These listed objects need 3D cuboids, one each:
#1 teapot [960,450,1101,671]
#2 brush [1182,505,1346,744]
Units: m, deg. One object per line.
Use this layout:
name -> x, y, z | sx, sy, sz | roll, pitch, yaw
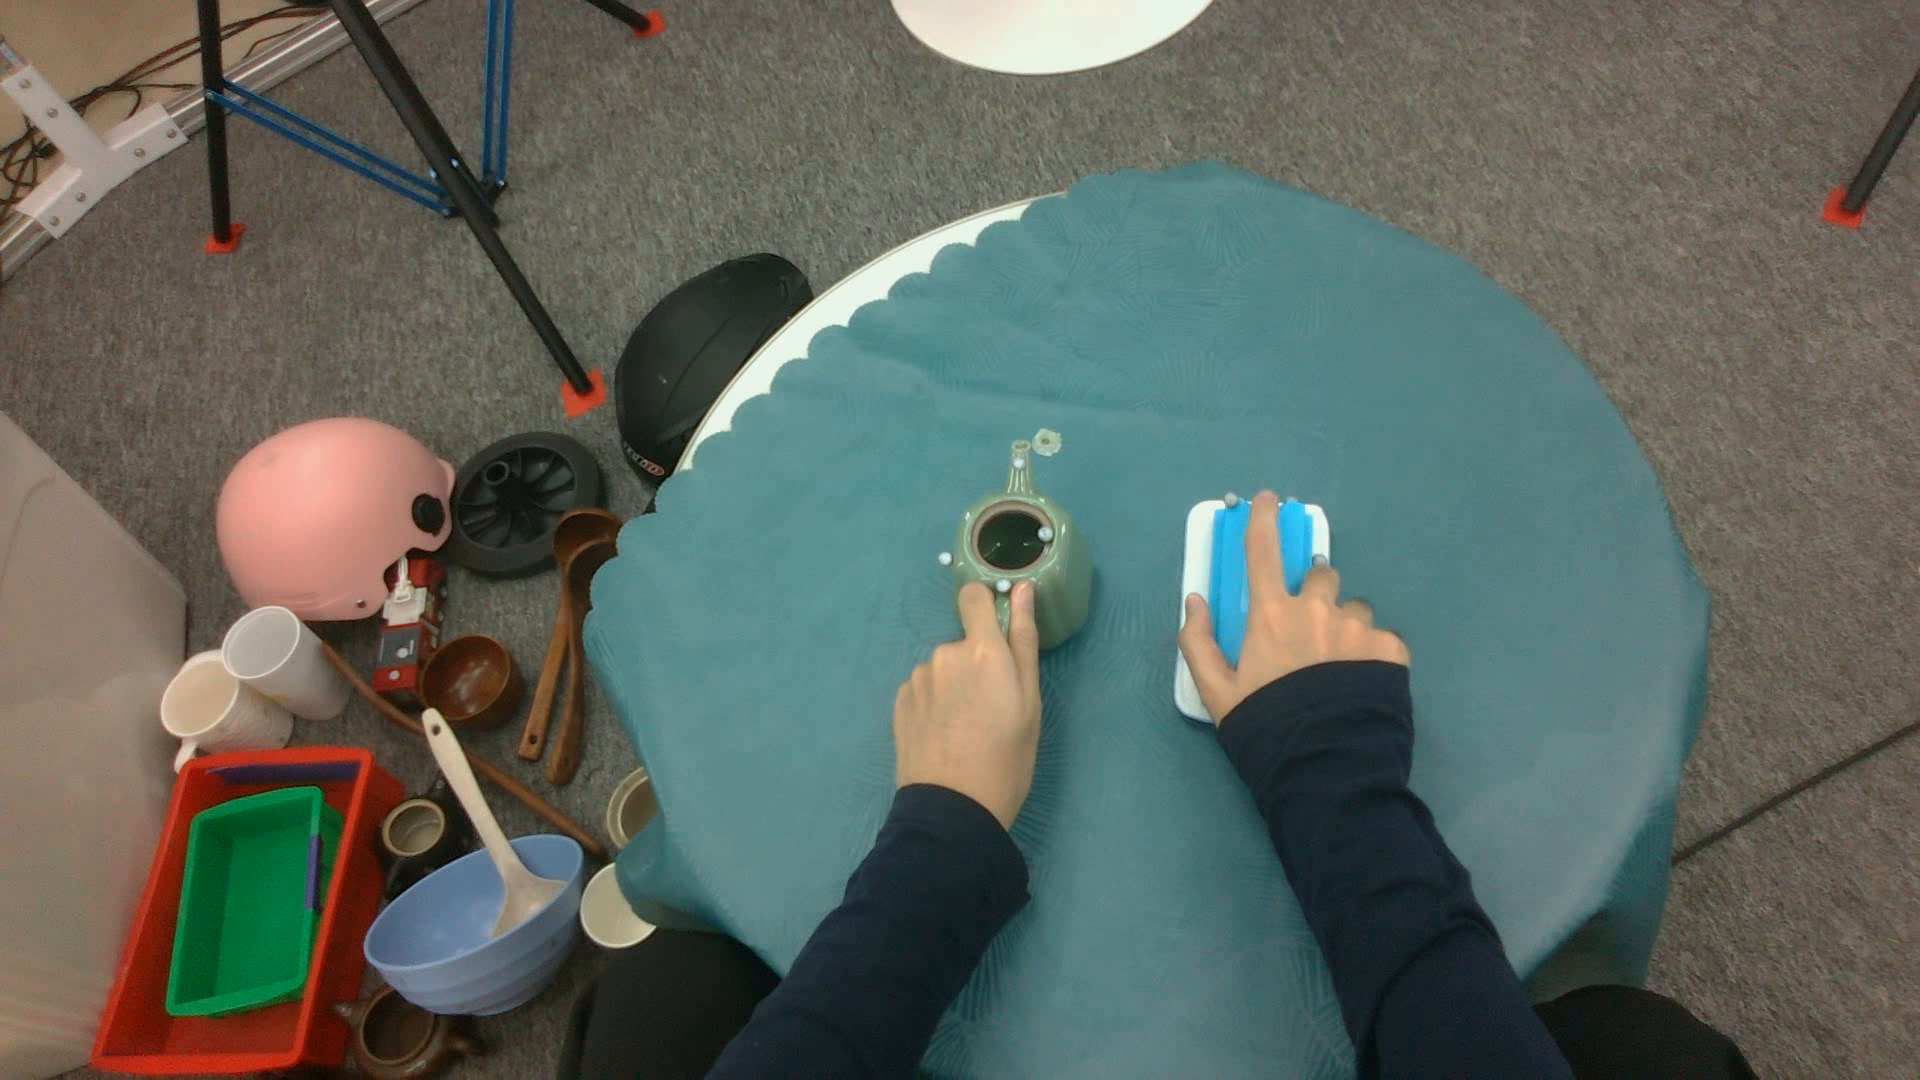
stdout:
teapot -> 0.038, 0.021, 0.780 | 0.079, 0.075, 0.133 | 2, 60, 11
brush -> 0.167, 0.038, 0.753 | 0.084, 0.056, 0.144 | 3, 57, 15
